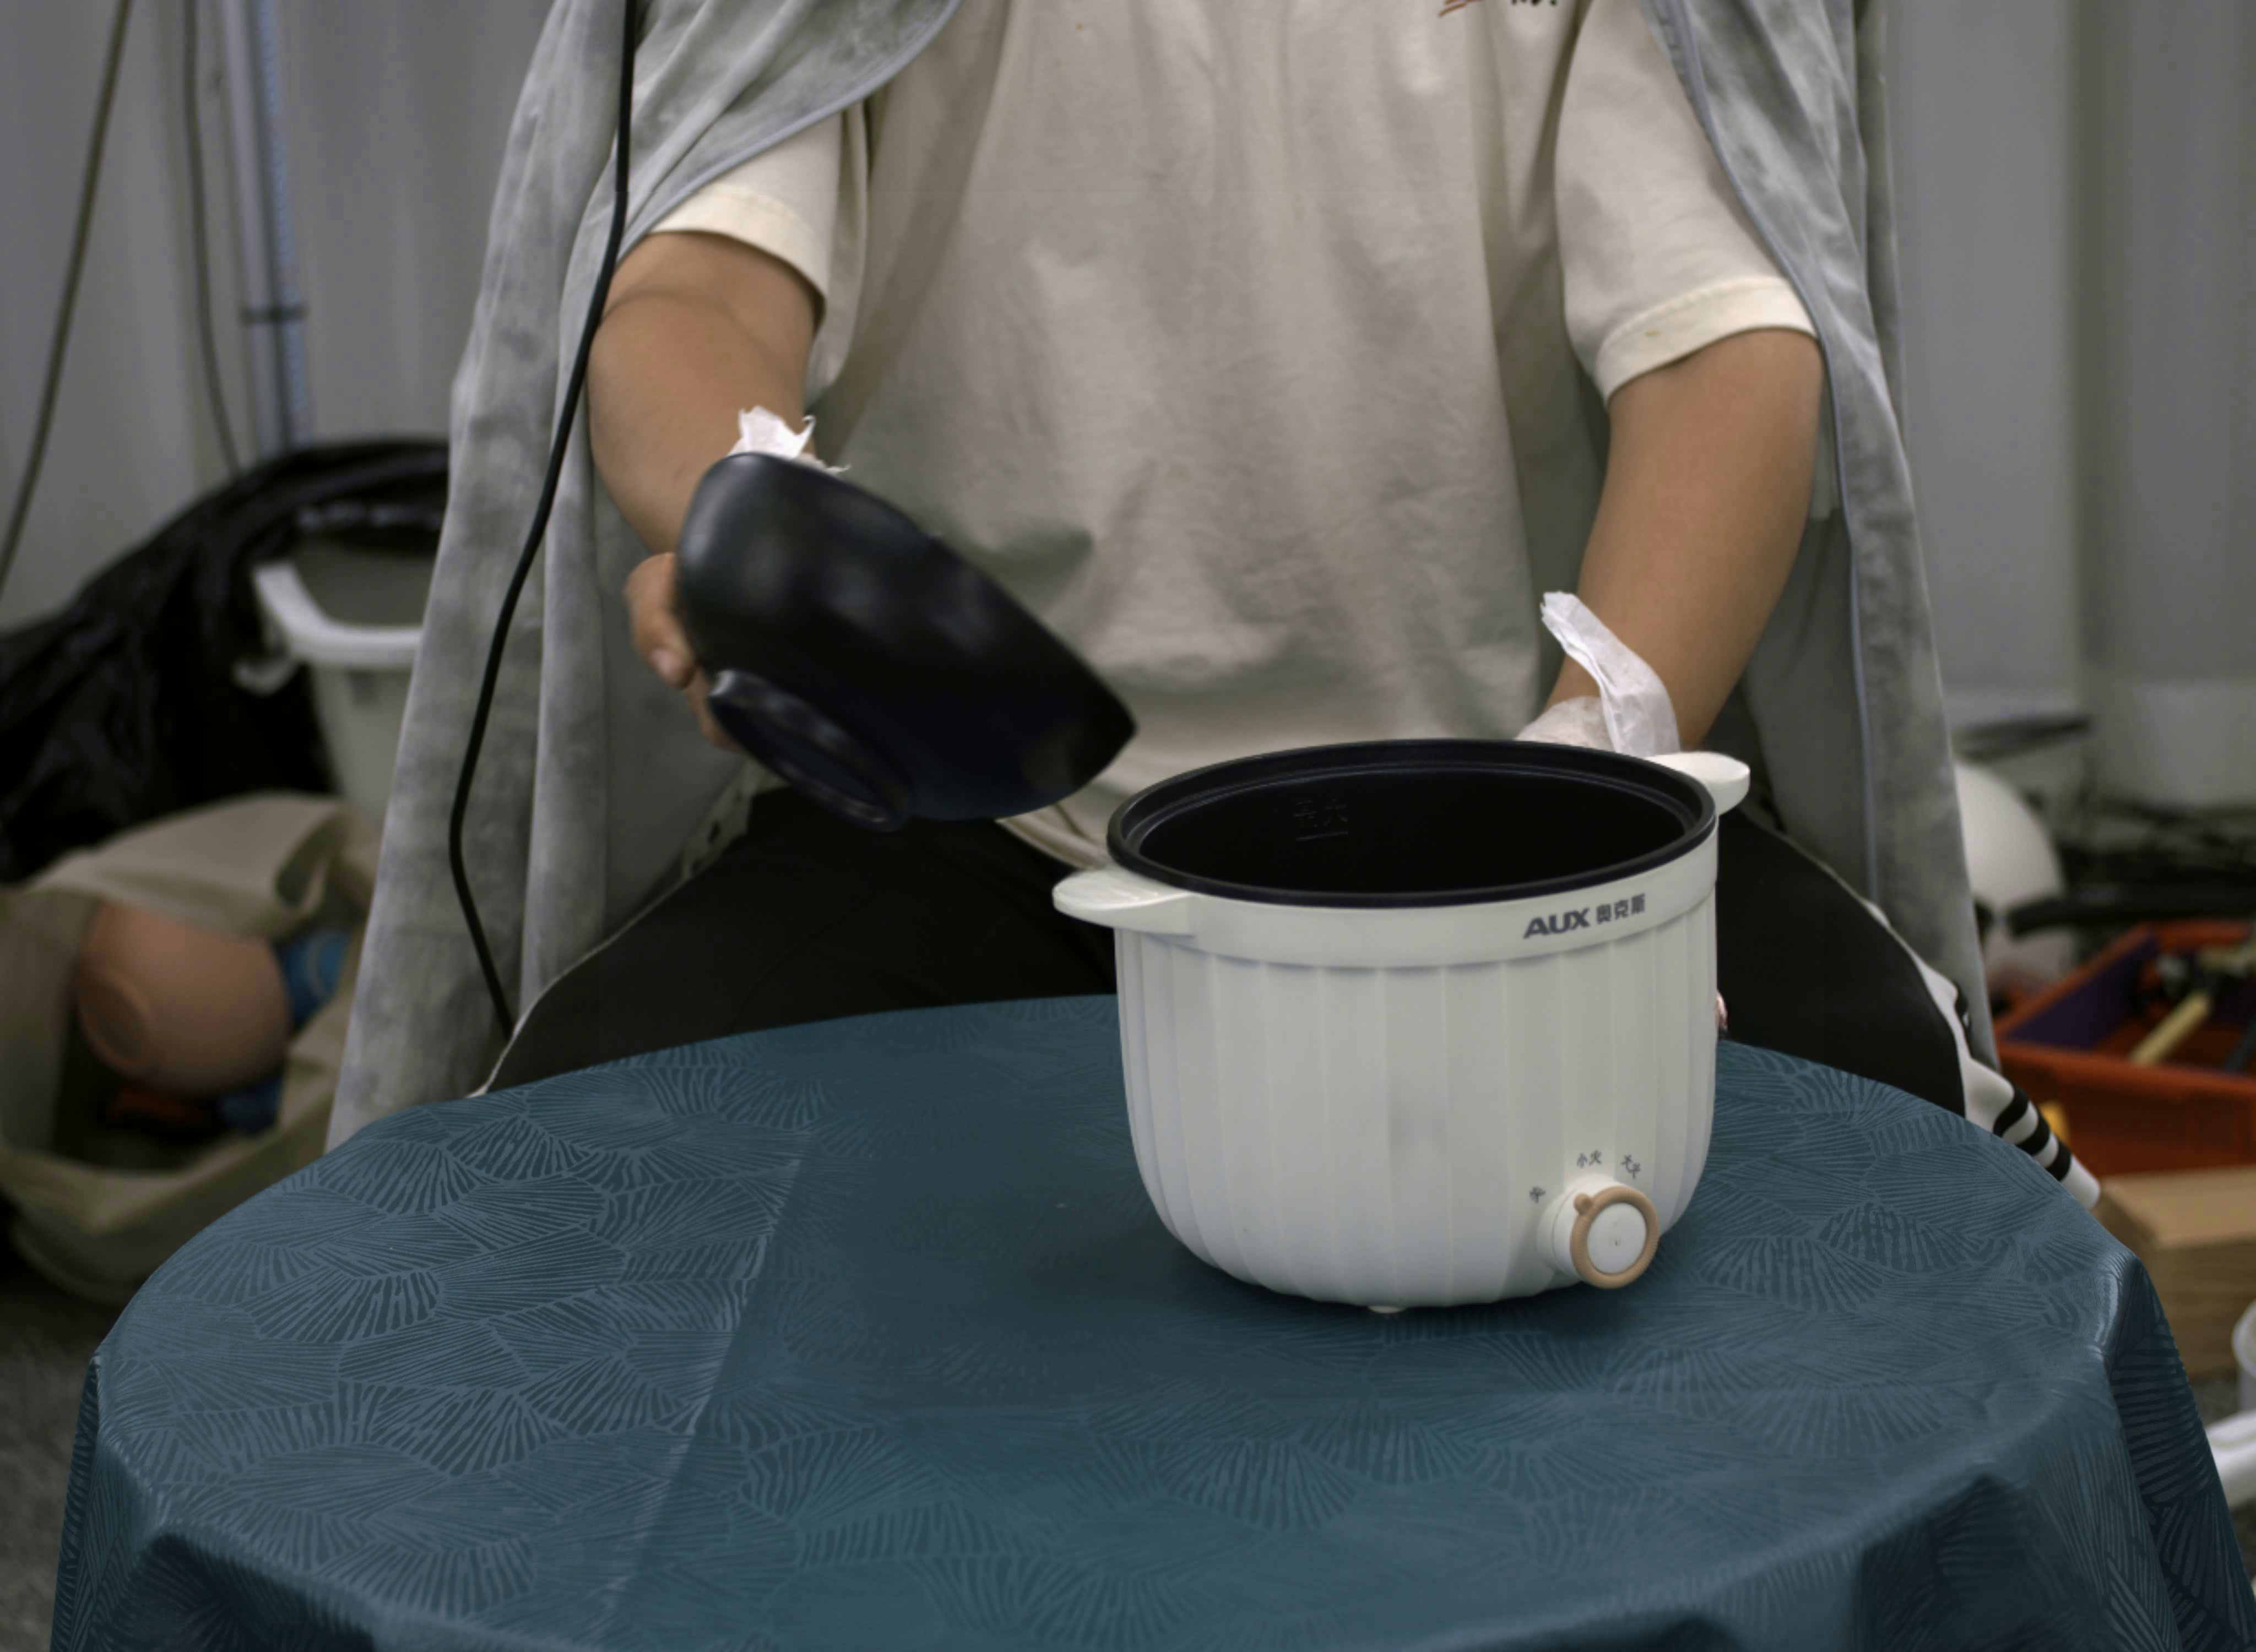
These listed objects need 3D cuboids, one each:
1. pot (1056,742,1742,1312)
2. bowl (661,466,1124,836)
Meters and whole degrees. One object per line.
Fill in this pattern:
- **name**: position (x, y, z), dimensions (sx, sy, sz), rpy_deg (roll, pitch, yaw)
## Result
- **pot**: position (0.091, 0.061, 1.636), dimensions (0.239, 0.142, 0.191), rpy_deg (-12, 14, -29)
- **bowl**: position (-0.082, -0.042, 1.603), dimensions (0.171, 0.067, 0.135), rpy_deg (16, -21, 50)
